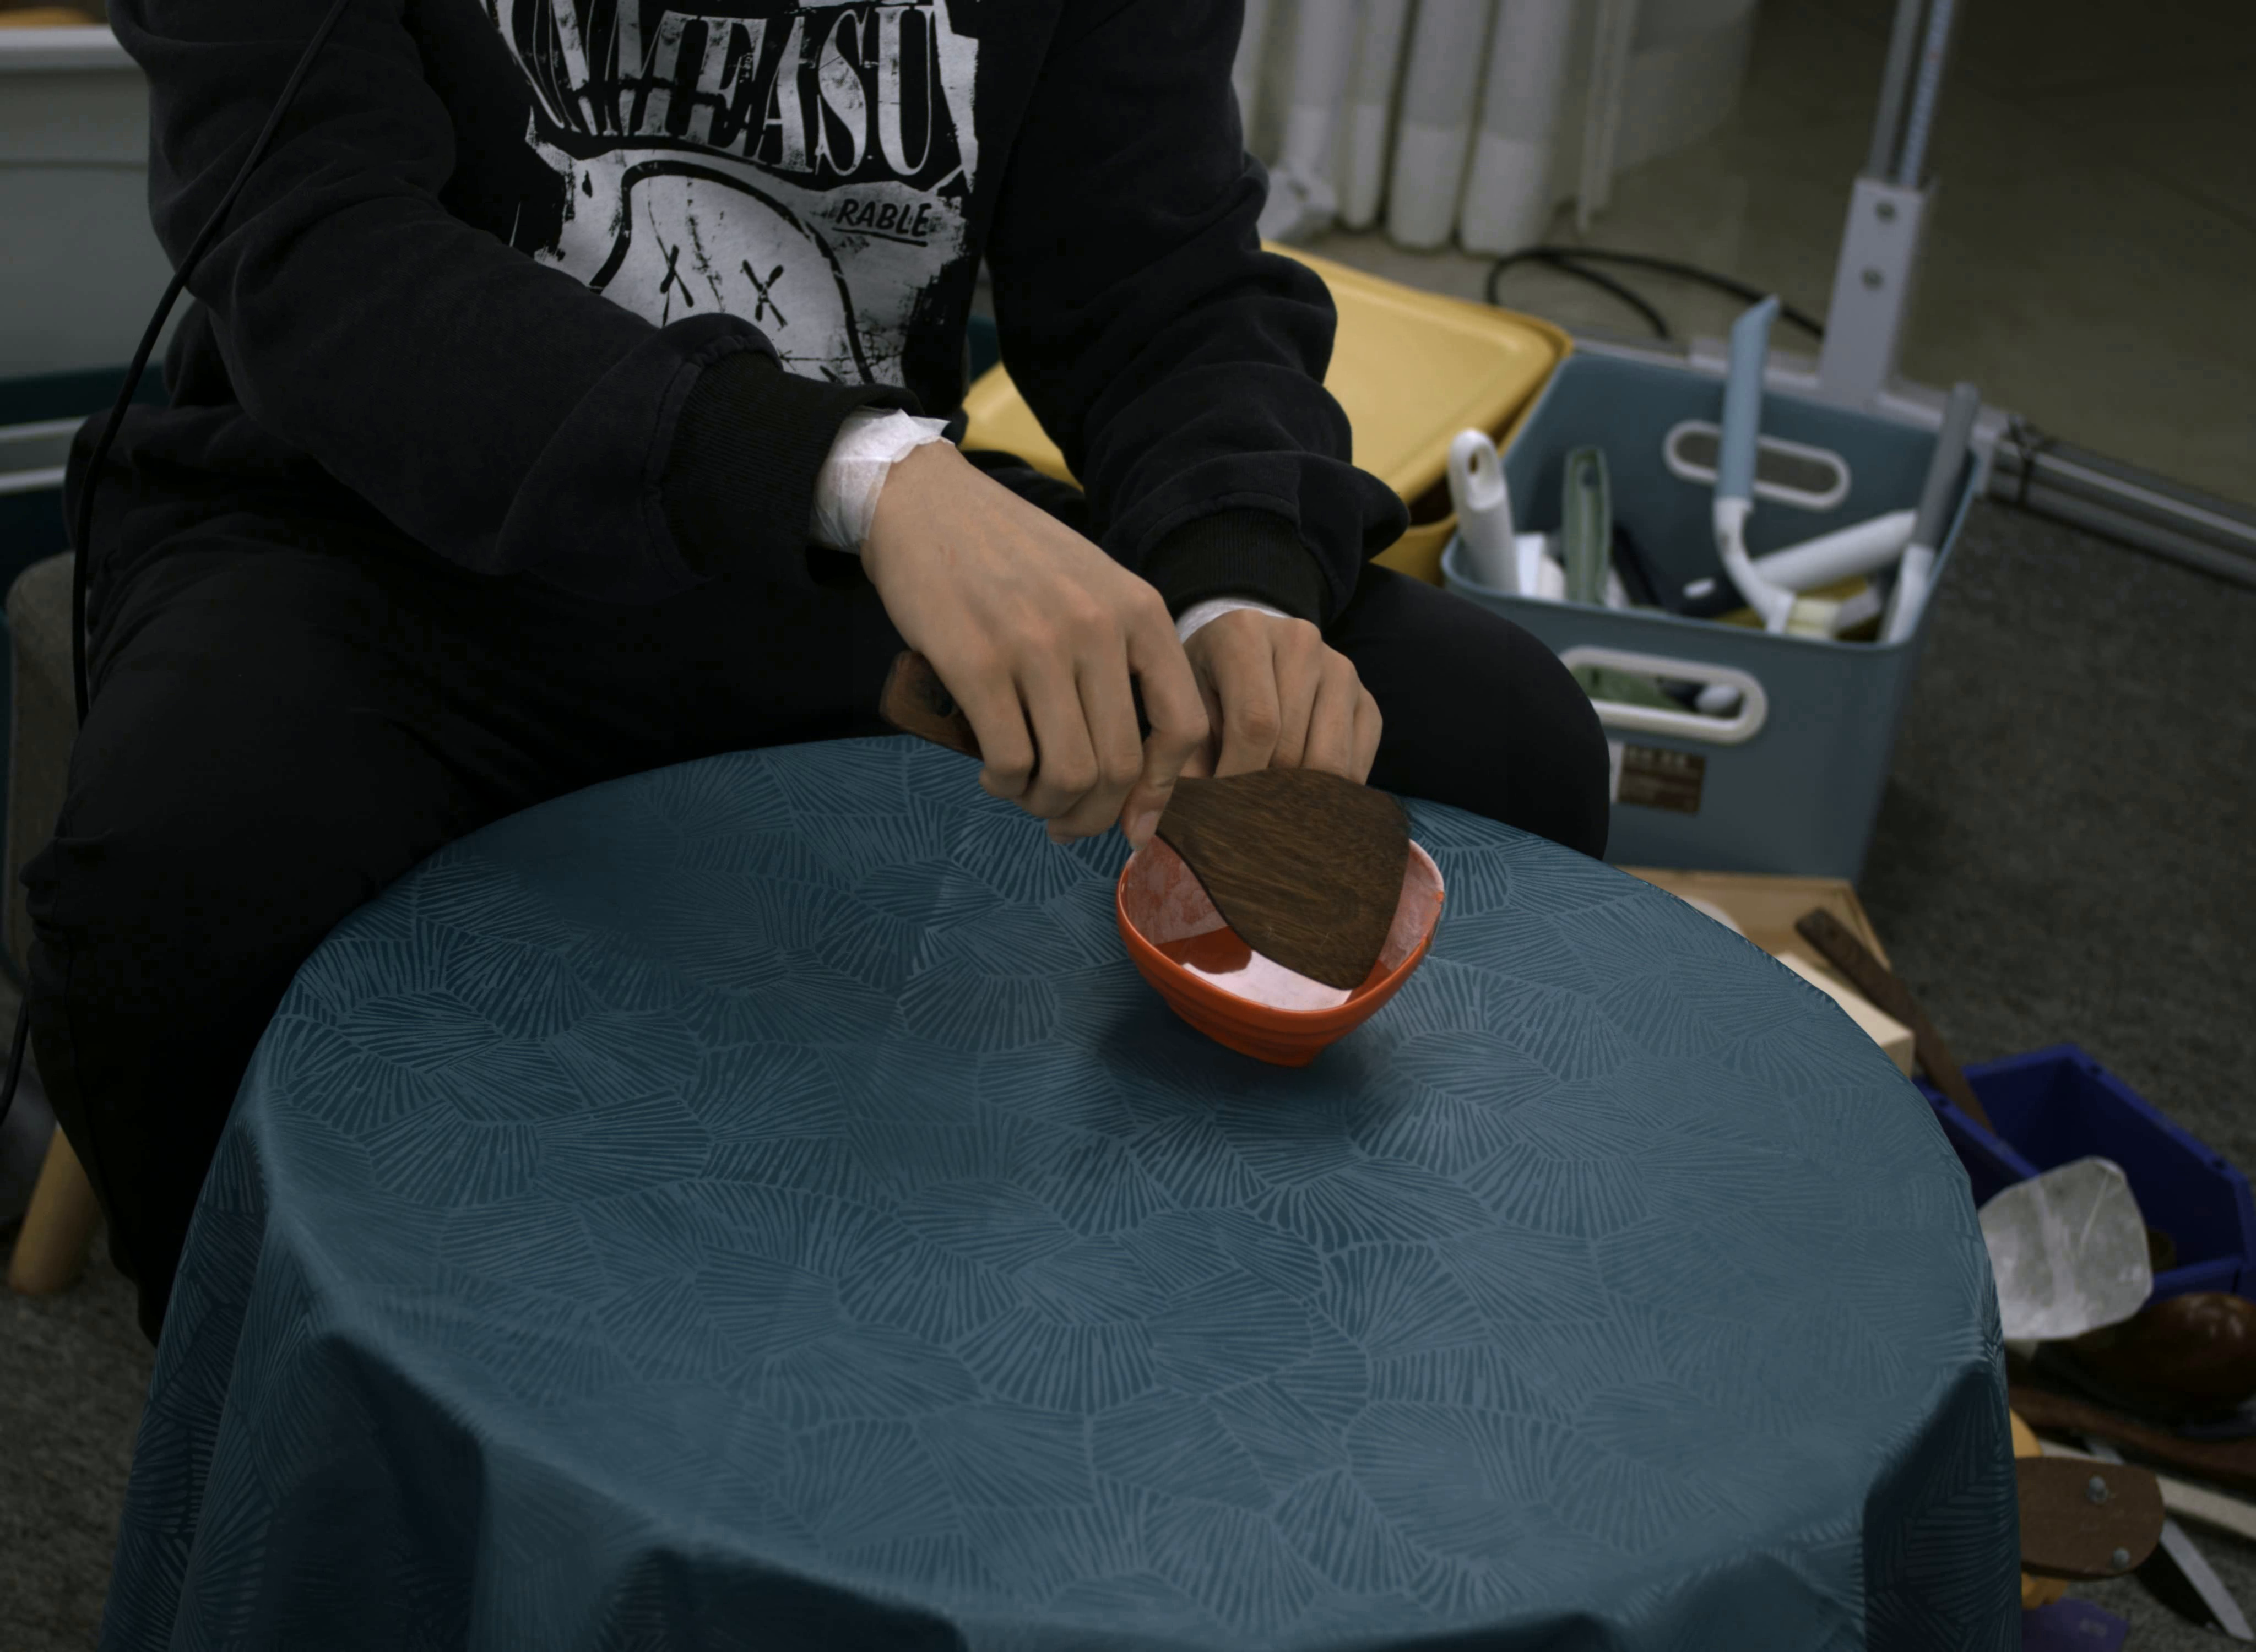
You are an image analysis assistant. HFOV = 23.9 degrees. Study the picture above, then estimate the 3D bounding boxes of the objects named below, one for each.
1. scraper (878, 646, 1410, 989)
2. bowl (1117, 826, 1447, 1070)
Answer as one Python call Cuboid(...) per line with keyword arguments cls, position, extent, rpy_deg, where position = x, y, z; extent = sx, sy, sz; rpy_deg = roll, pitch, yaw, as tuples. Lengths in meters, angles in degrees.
Cuboid(cls="scraper", position=(0.005, -0.012, 1.846), extent=(0.209, 0.076, 0.011), rpy_deg=(24, -17, -23))
Cuboid(cls="bowl", position=(0.053, 0.042, 1.899), extent=(0.118, 0.051, 0.120), rpy_deg=(2, 45, -2))
